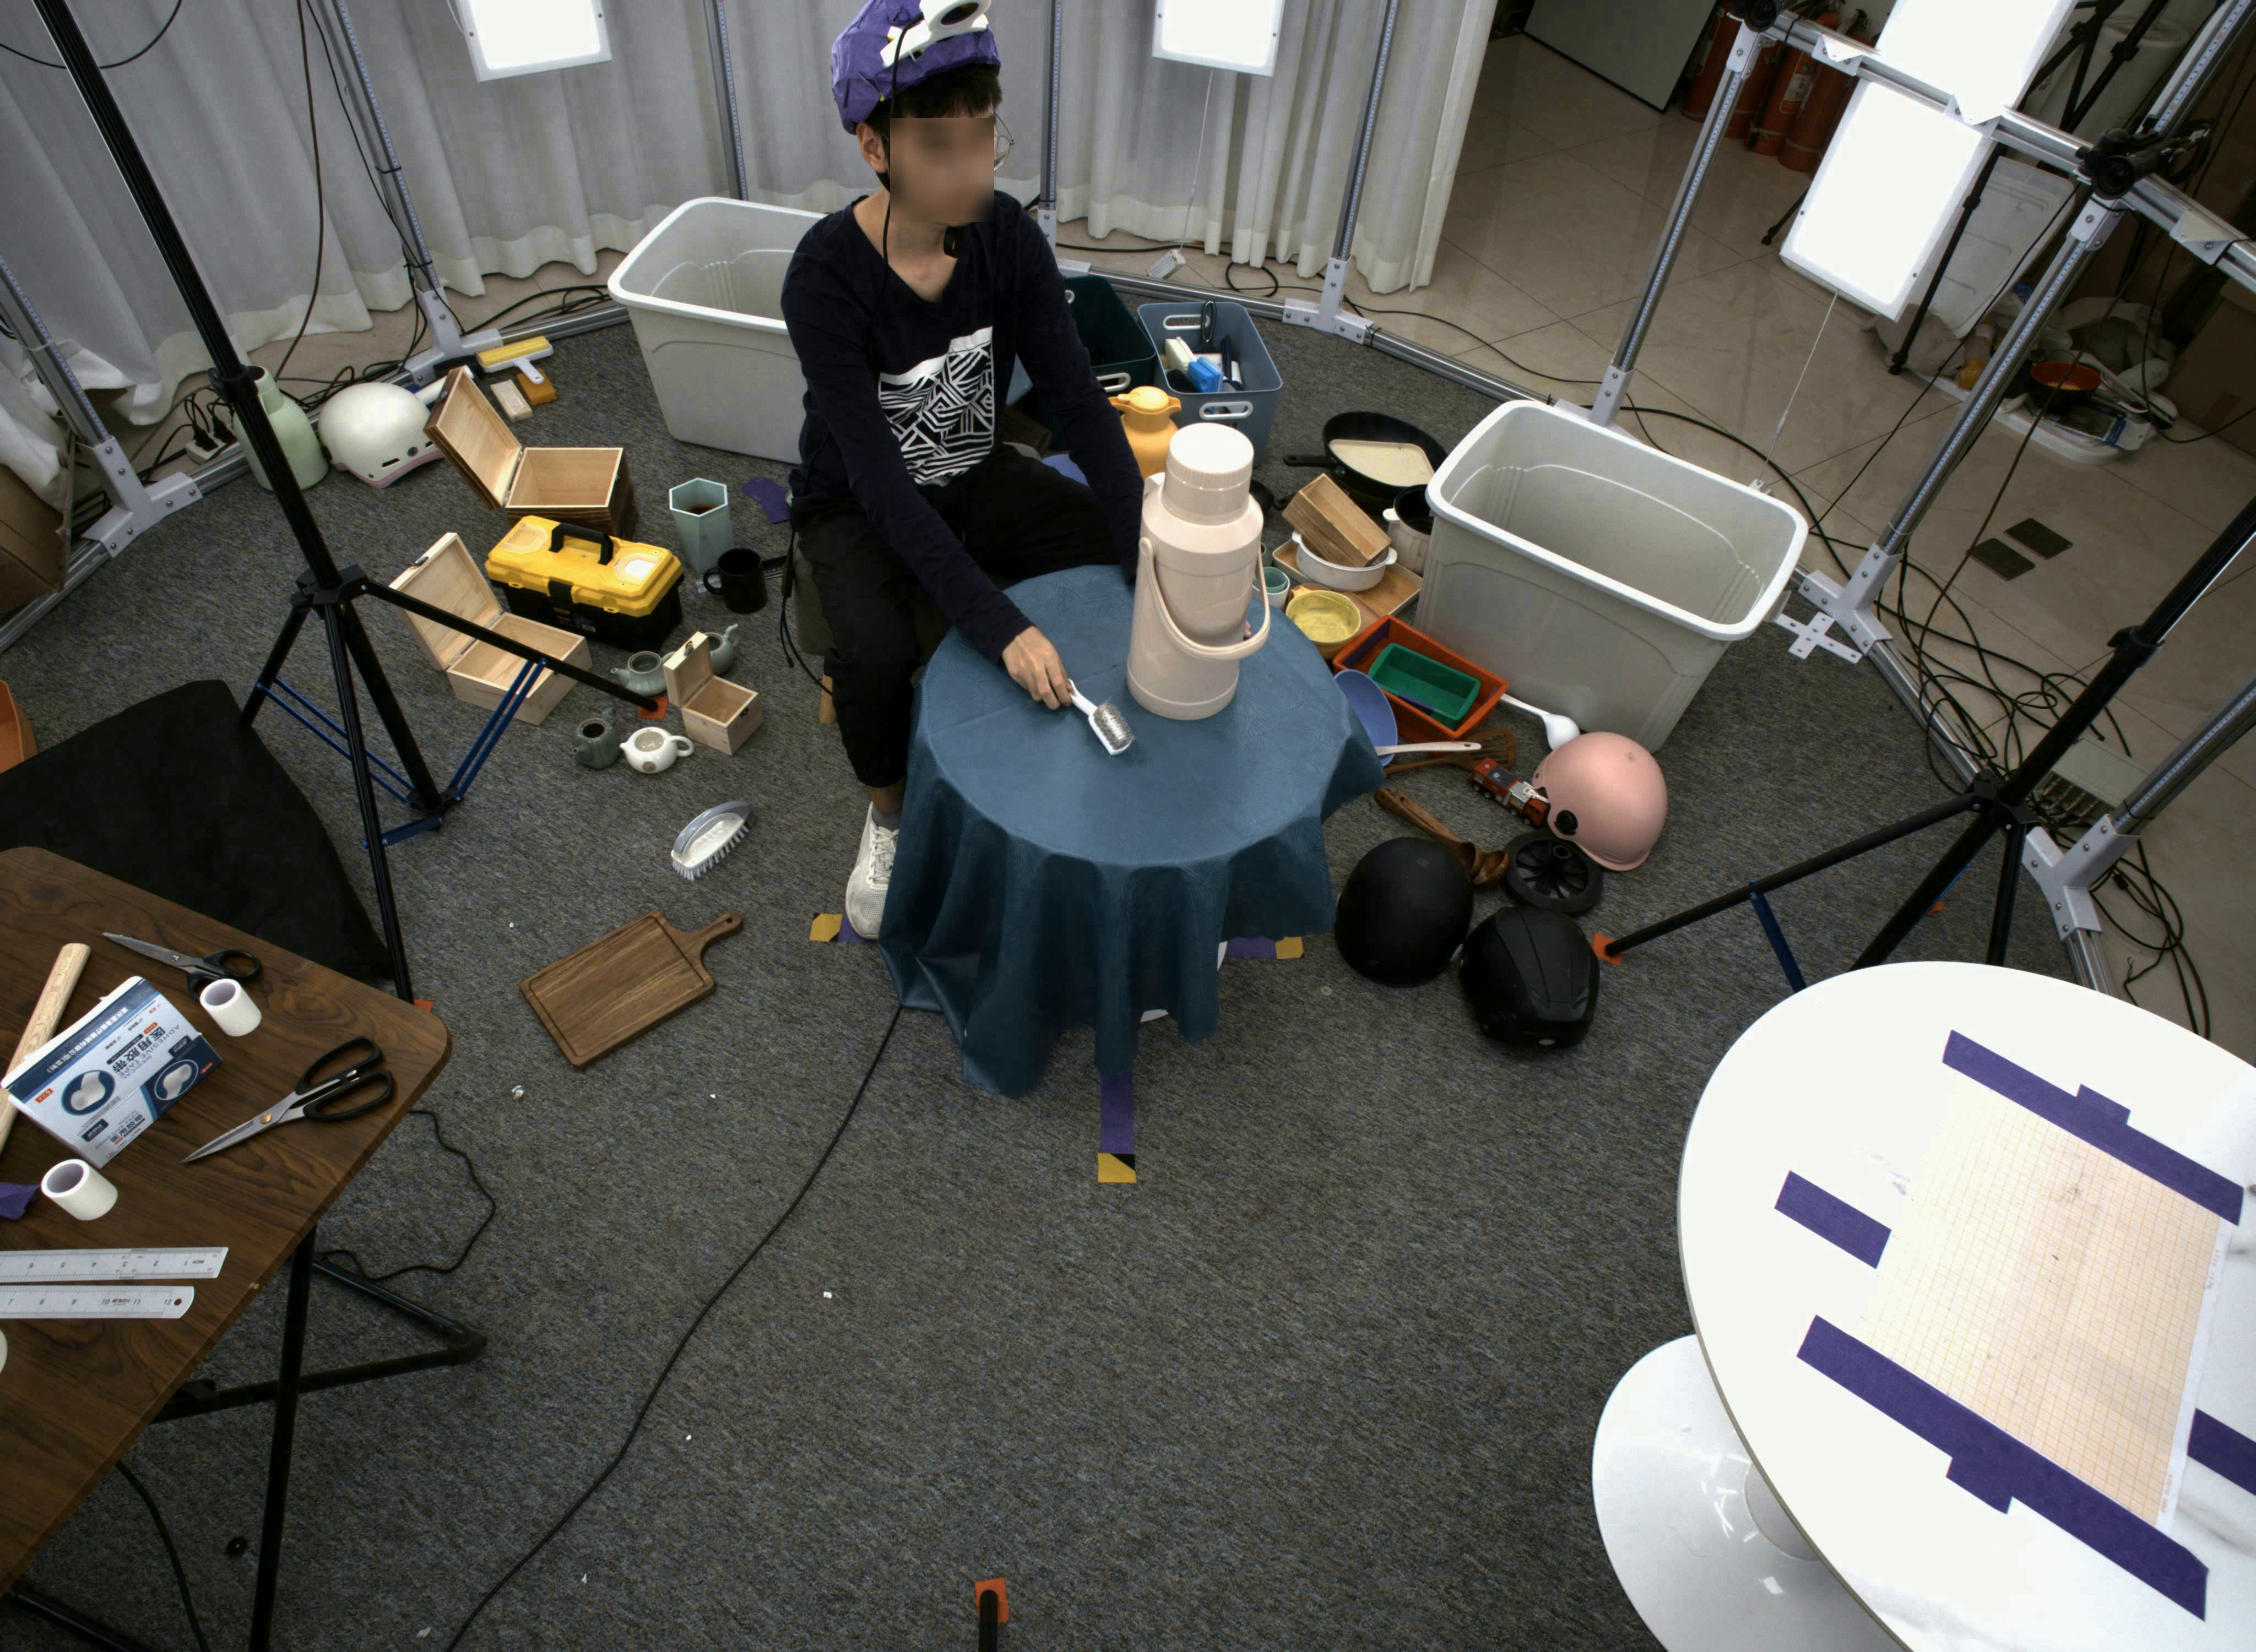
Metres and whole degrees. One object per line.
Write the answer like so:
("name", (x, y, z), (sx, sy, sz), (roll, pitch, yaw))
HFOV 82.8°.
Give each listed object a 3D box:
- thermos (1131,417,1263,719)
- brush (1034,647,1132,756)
("thermos", (0.084, -0.346, 1.718), (0.176, 0.396, 0.211), (-25, 55, -22))
("brush", (-0.068, -0.188, 1.795), (0.034, 0.049, 0.249), (-27, 55, -16))
